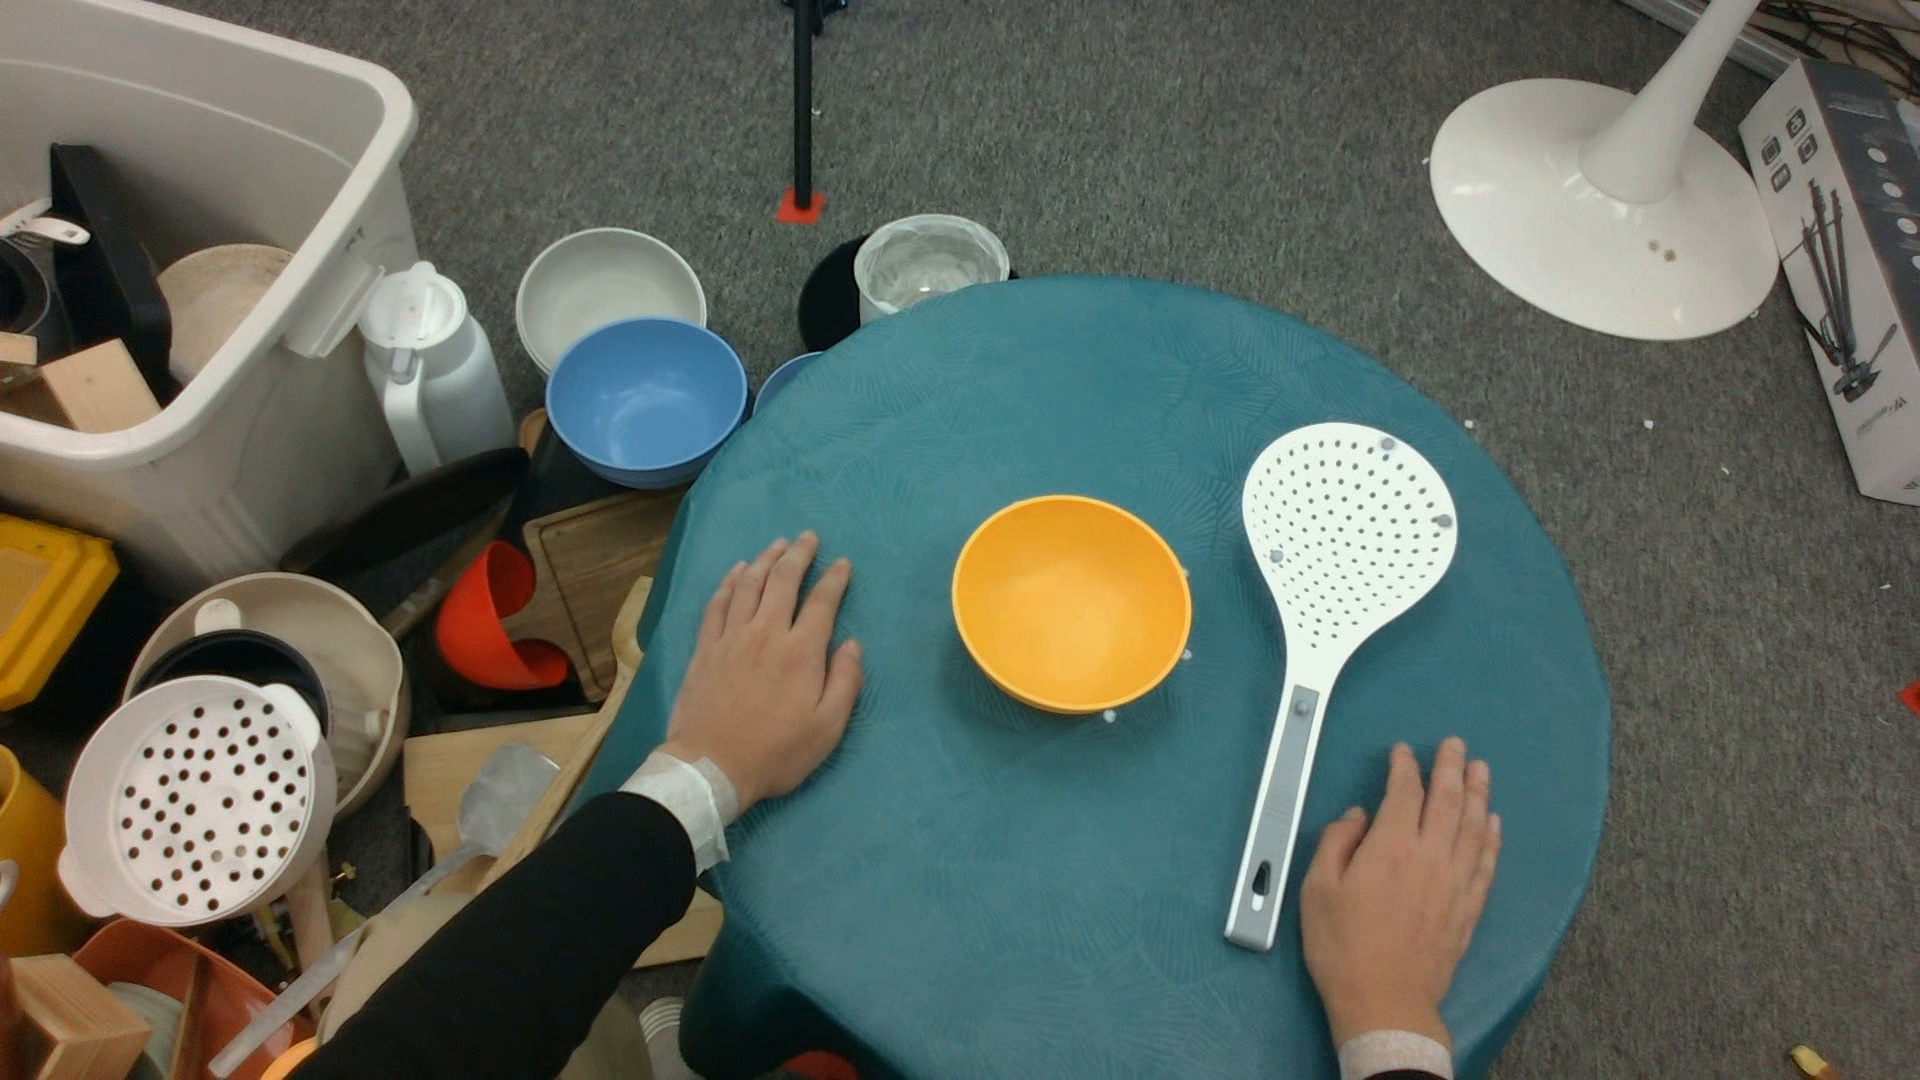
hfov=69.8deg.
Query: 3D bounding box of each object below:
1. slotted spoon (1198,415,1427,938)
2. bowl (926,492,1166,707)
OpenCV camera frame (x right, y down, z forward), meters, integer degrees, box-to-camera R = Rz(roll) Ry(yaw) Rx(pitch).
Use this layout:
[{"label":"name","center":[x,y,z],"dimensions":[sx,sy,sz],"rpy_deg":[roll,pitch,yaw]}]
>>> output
[{"label":"slotted spoon","center":[0.201,0.073,0.848],"dimensions":[0.136,0.045,0.351],"rpy_deg":[18,59,5]},{"label":"bowl","center":[0.049,0.045,0.838],"dimensions":[0.145,0.060,0.146],"rpy_deg":[3,57,-5]}]
